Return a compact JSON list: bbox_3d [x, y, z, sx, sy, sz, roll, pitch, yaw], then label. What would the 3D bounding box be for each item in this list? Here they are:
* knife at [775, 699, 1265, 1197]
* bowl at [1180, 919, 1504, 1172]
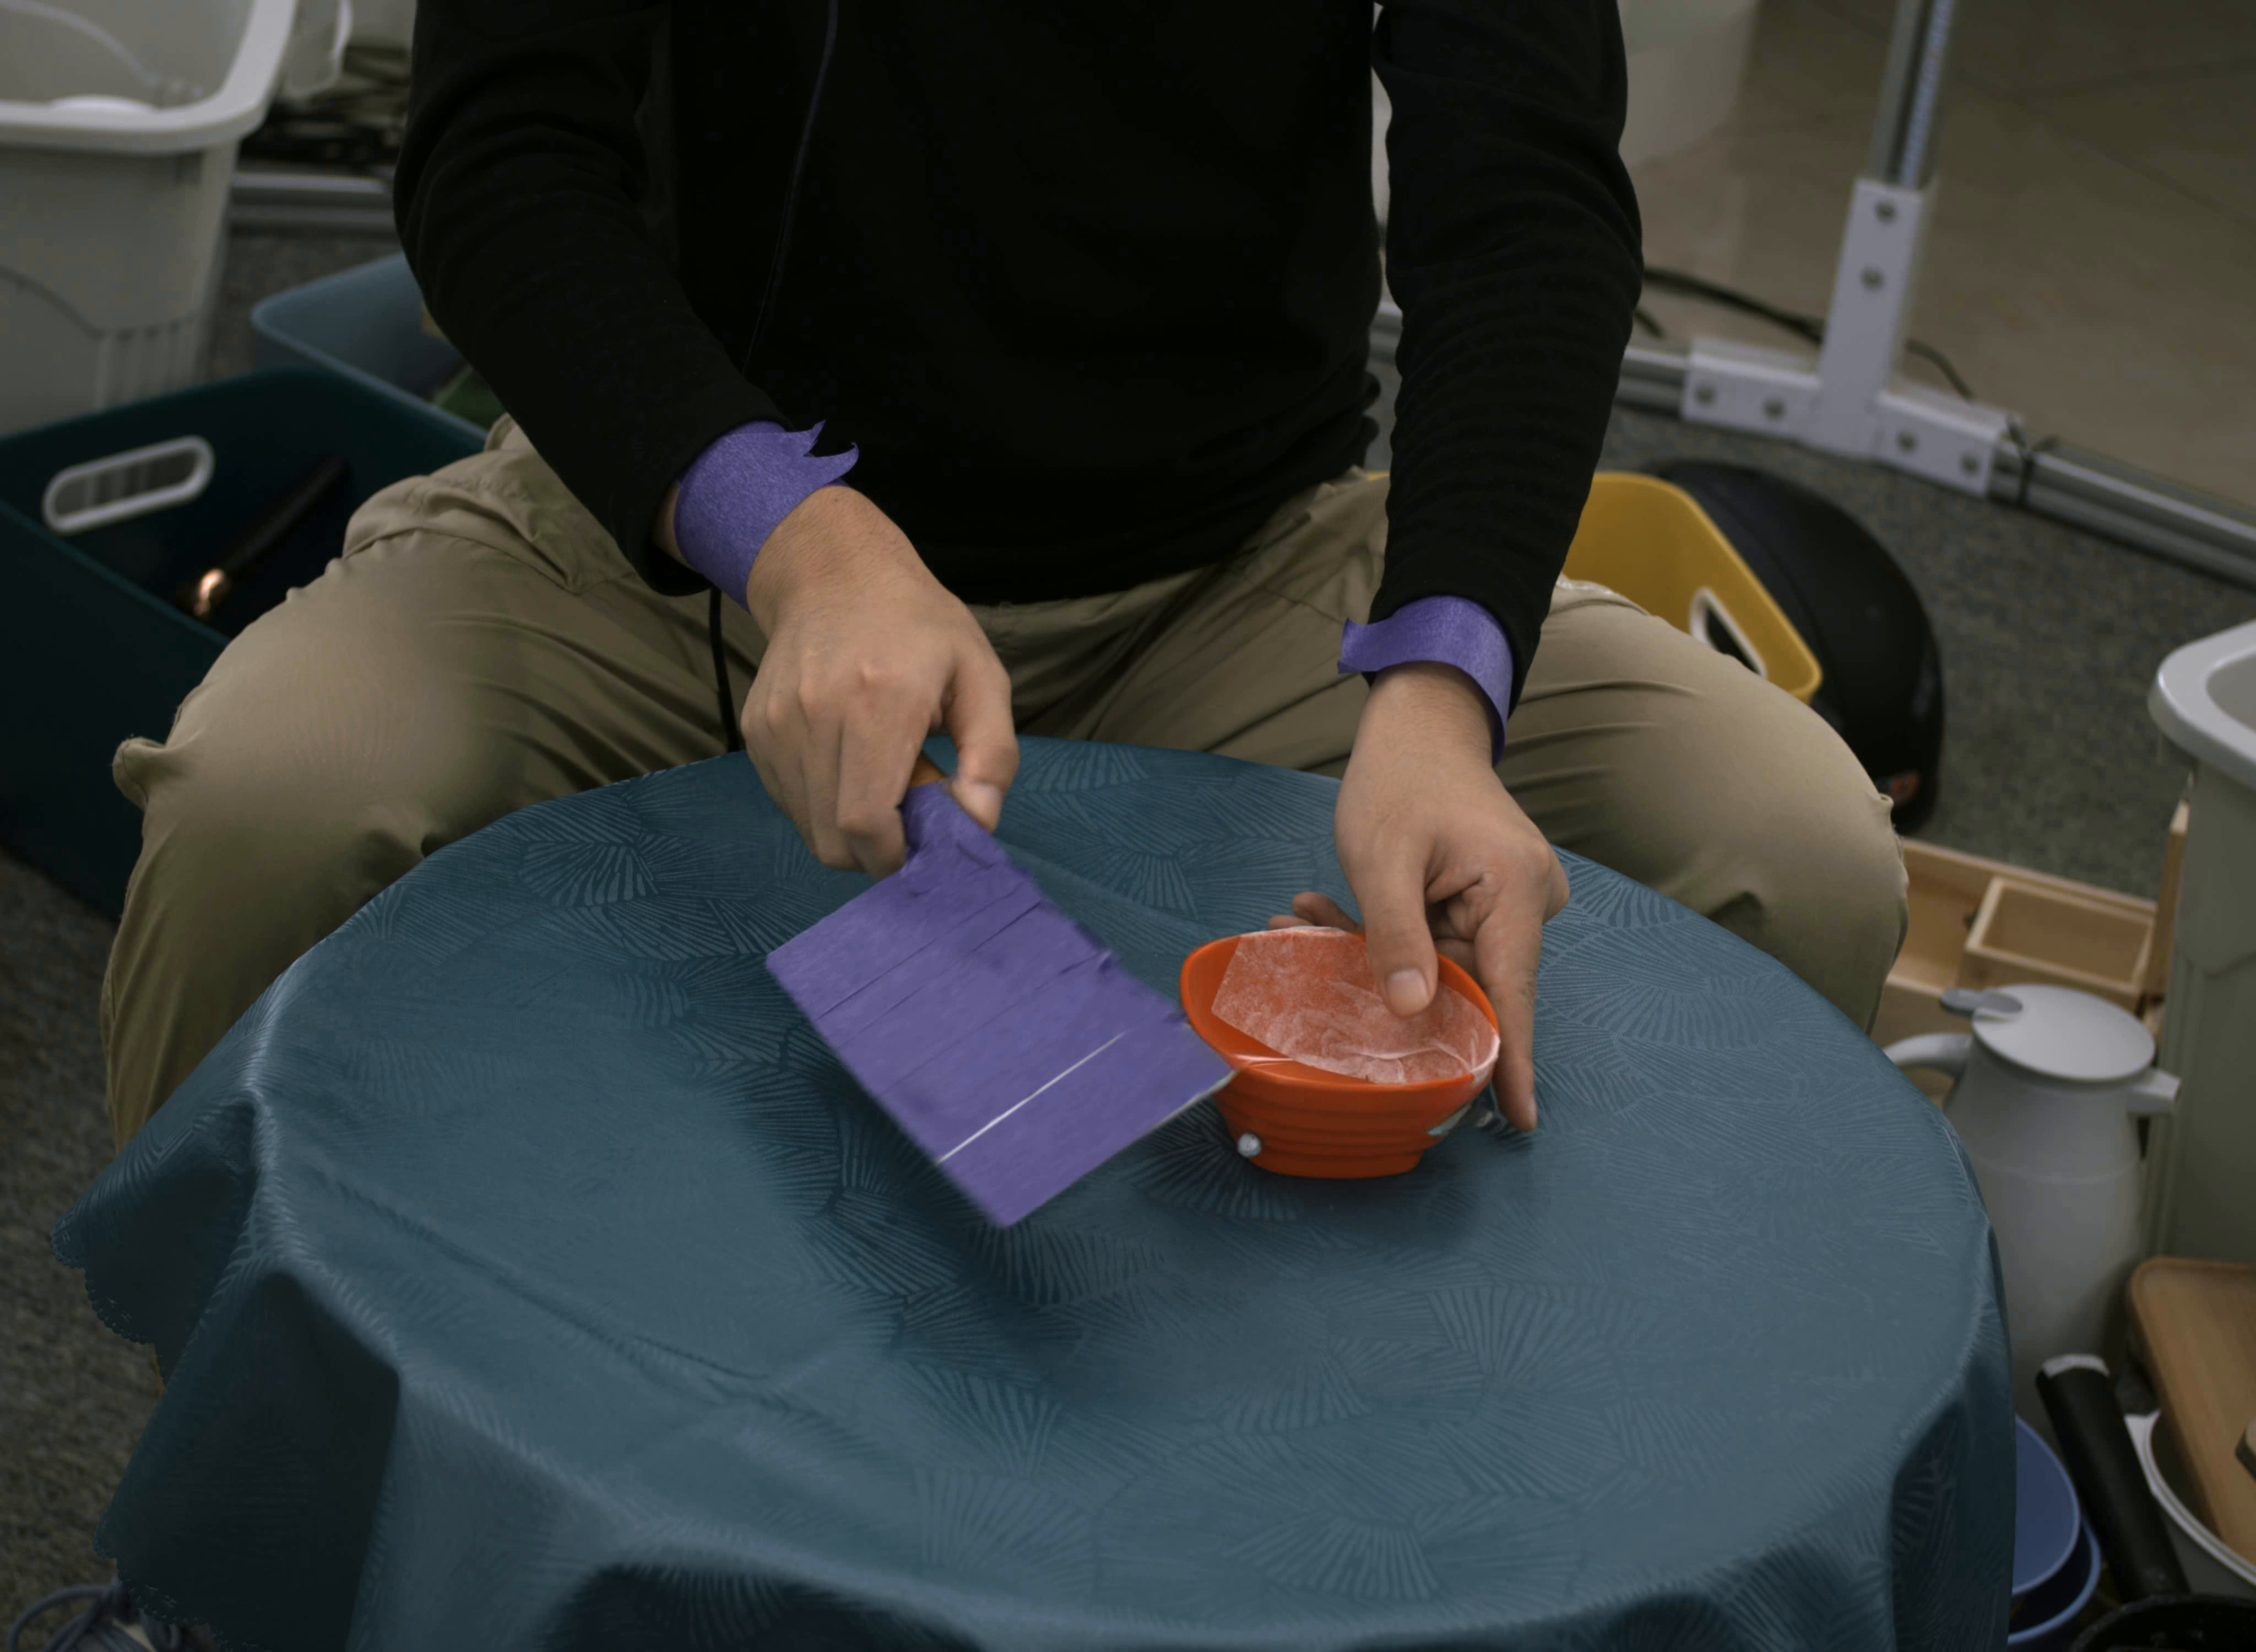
[{"bbox_3d":[-0.066,0.037,1.811,0.103,0.032,0.318,-33,32,-12],"label":"knife"},{"bbox_3d":[0.070,0.081,1.843,0.118,0.051,0.119,5,29,-3],"label":"bowl"}]
